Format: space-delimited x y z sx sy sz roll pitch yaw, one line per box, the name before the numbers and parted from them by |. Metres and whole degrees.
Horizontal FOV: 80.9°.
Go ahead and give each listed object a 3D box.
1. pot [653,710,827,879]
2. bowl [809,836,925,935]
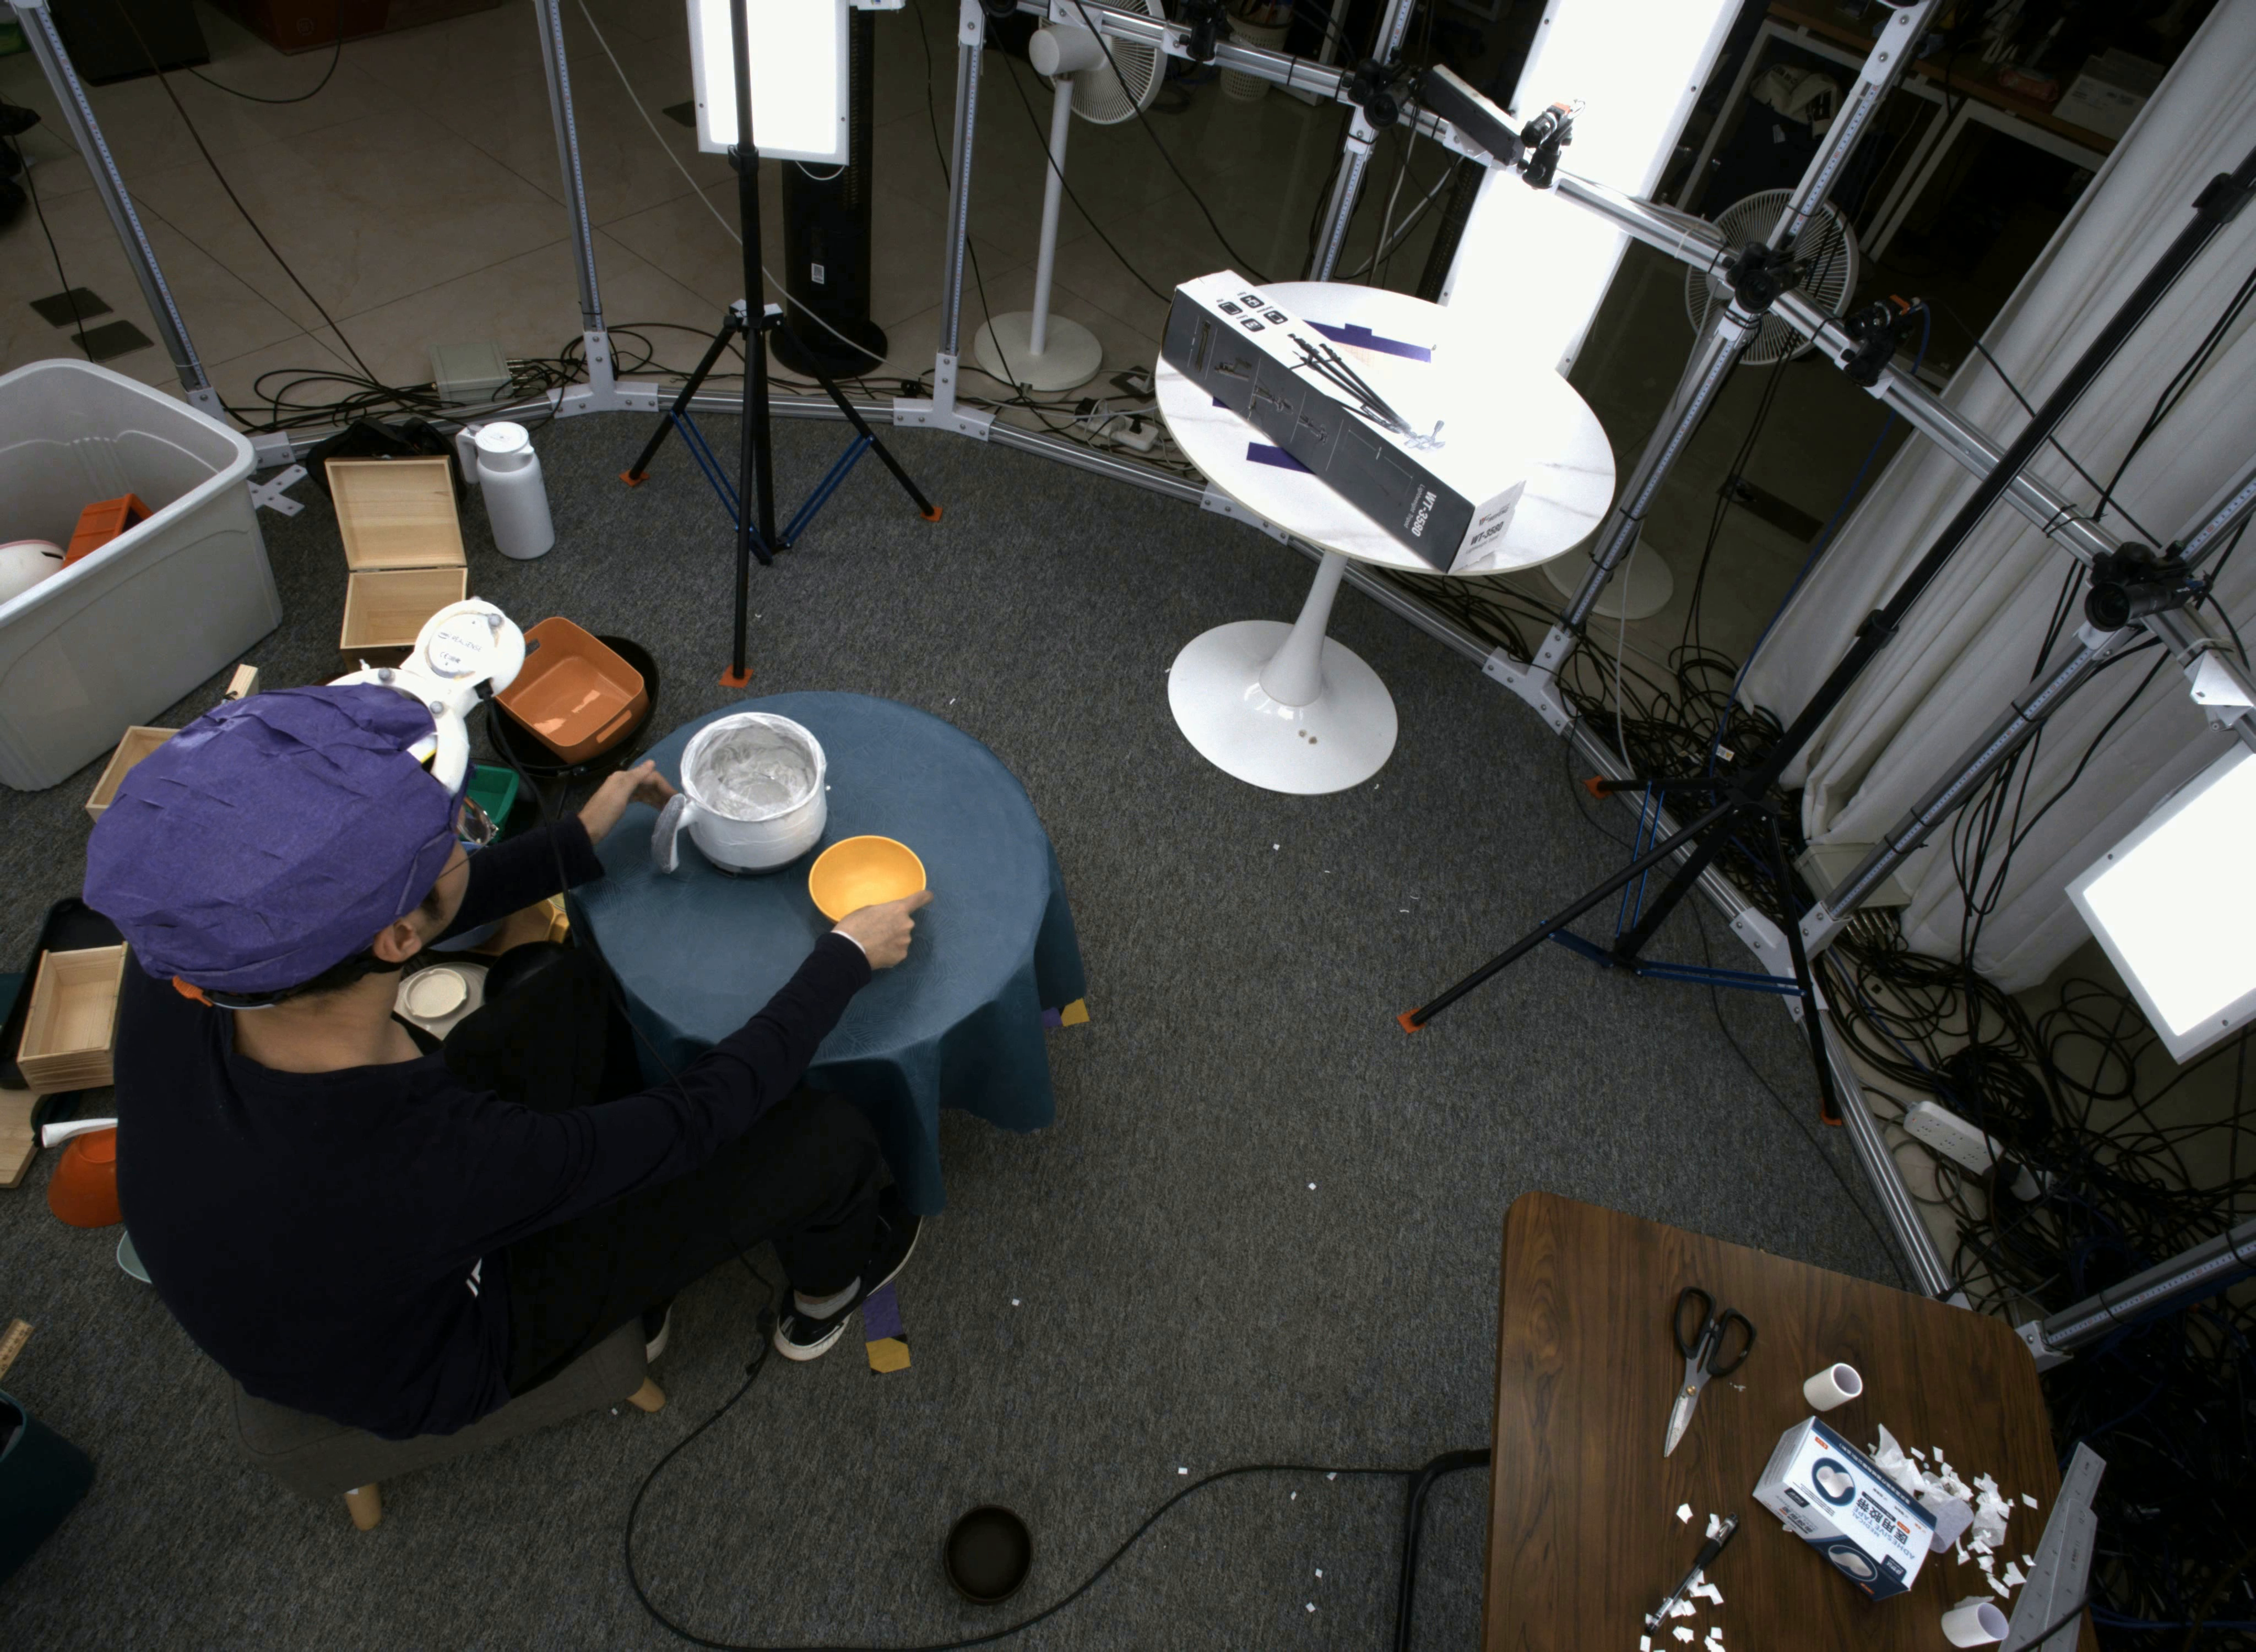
pot | -0.498 -0.027 1.647 0.234 0.140 0.174 -31 63 -32
bowl | -0.331 0.086 1.655 0.144 0.061 0.142 6 51 -6
